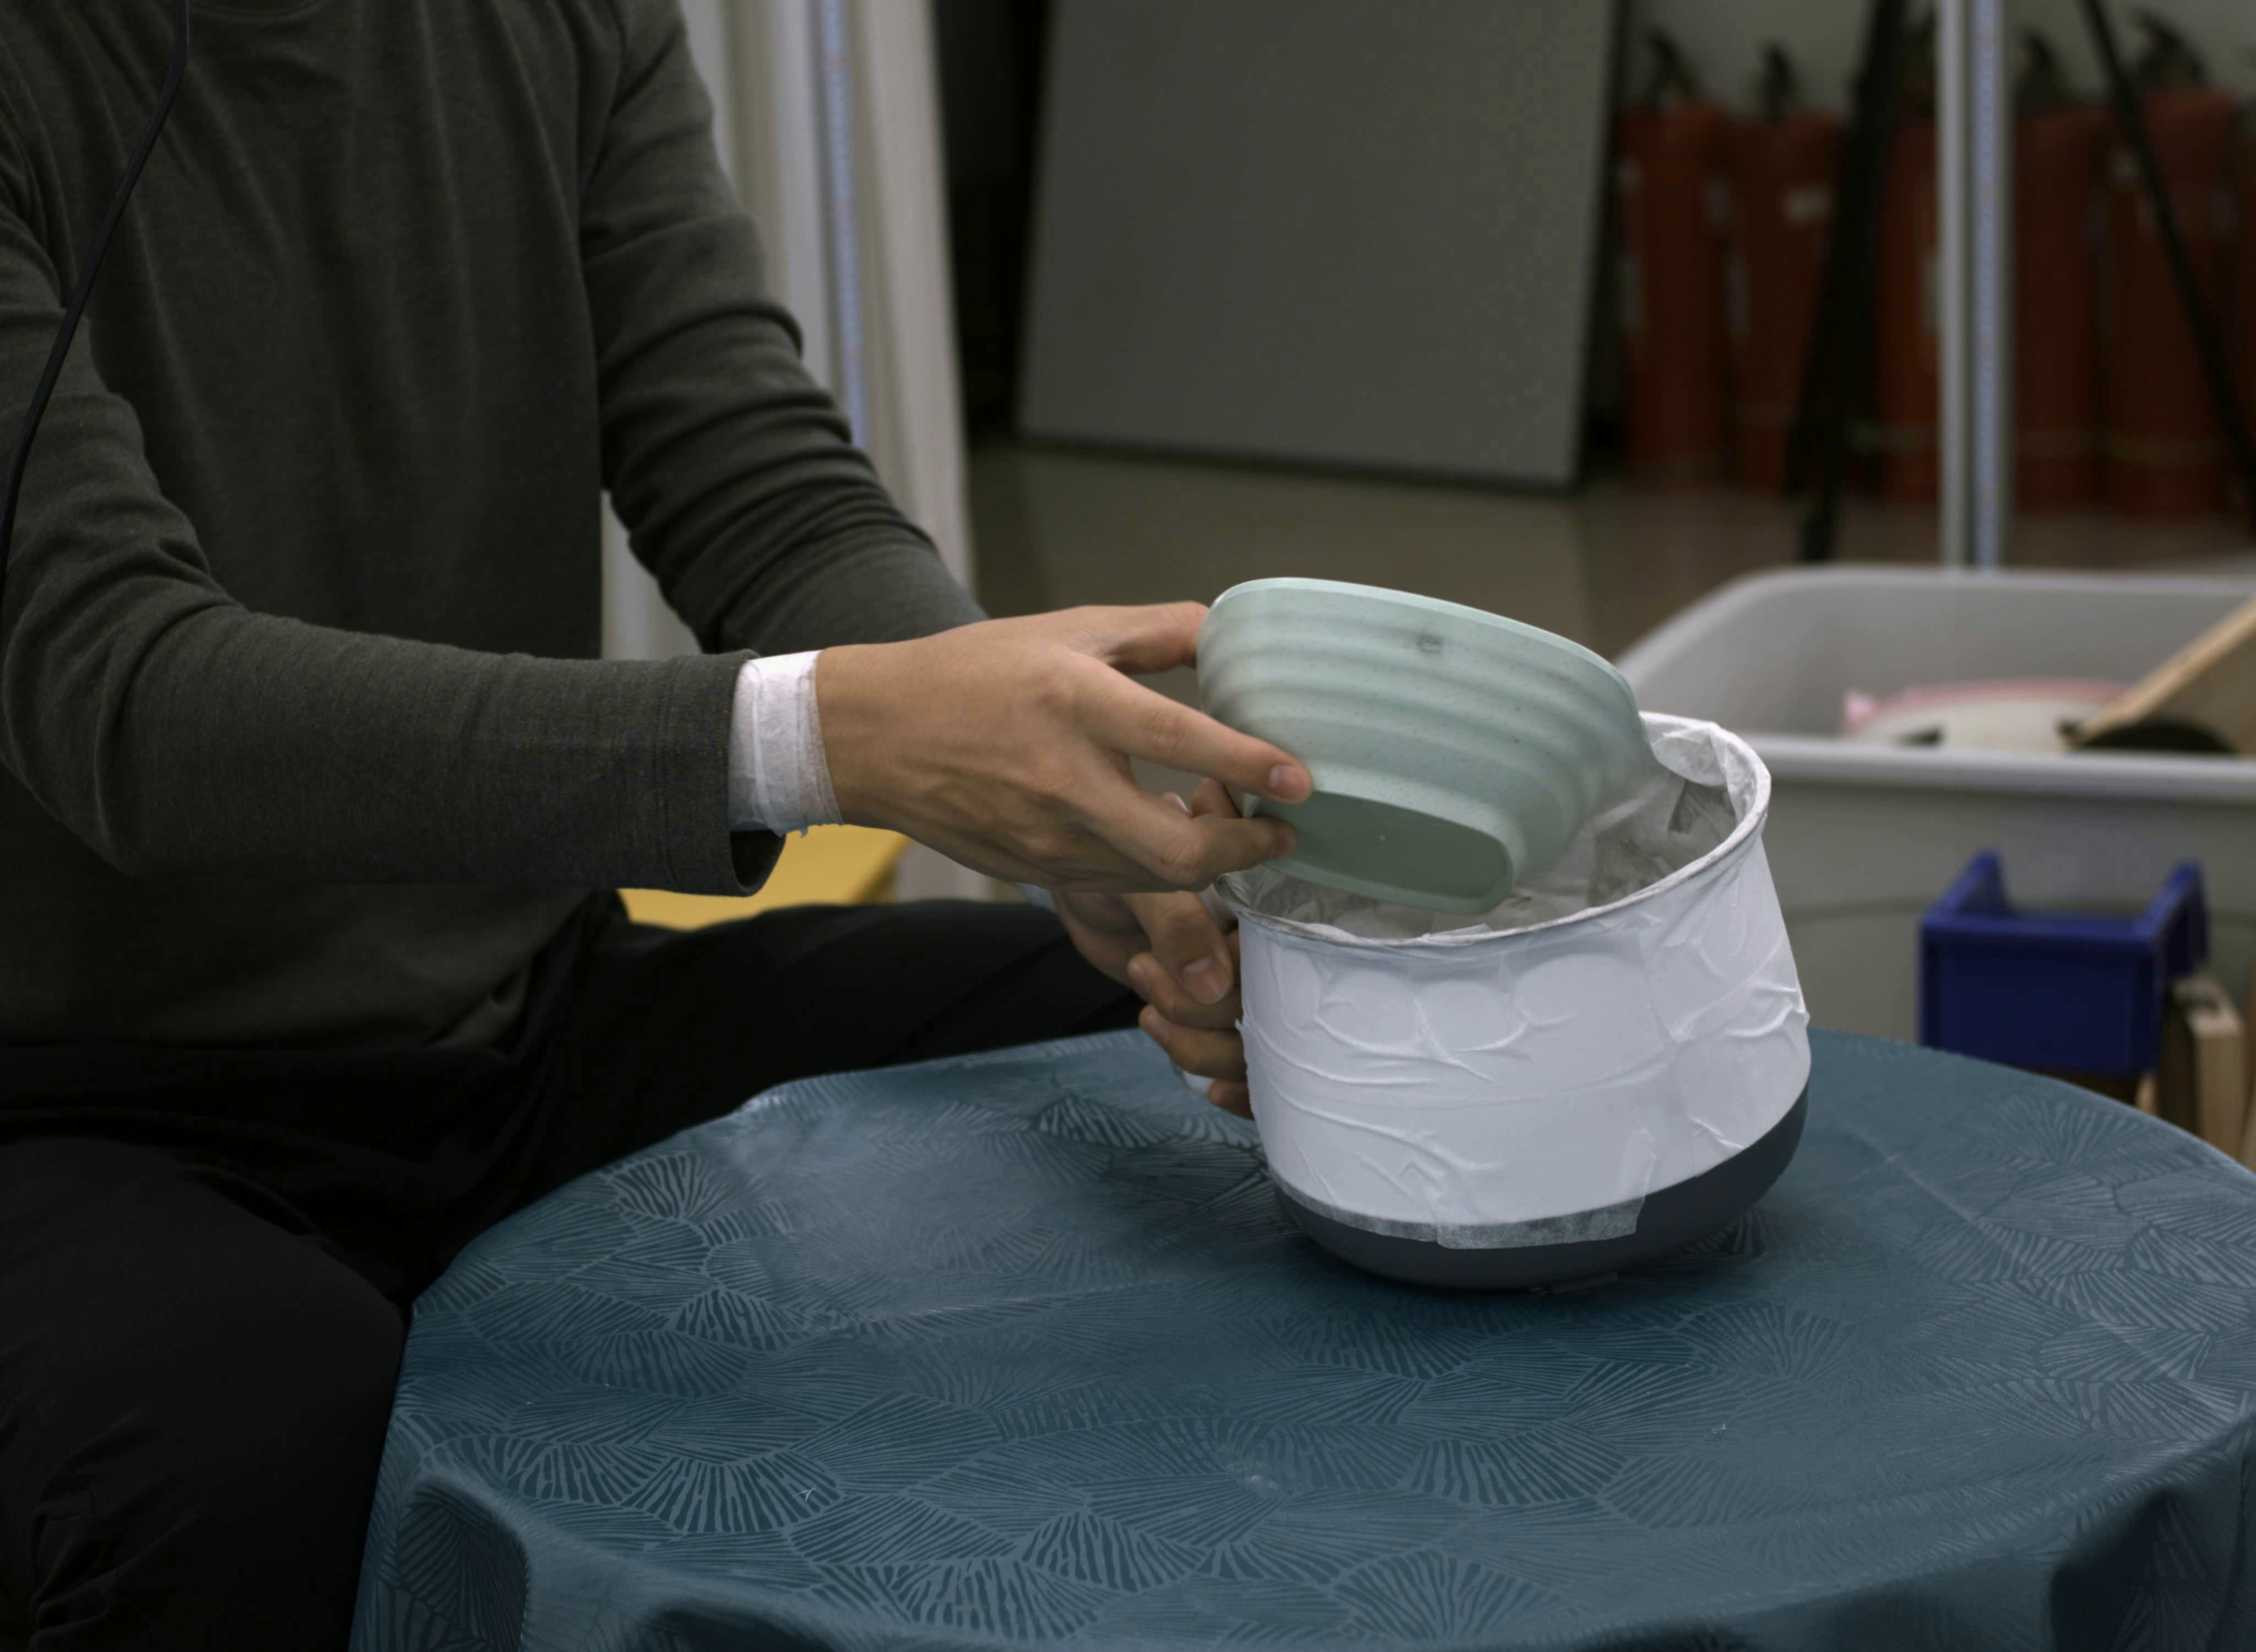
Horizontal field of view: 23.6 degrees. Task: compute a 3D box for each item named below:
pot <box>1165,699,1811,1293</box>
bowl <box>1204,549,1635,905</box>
[{"bbox_3d":[0.102,0.051,1.704,0.235,0.137,0.176,8,27,40],"label":"pot"},{"bbox_3d":[0.081,-0.023,1.639,0.150,0.059,0.151,18,-19,5],"label":"bowl"}]
